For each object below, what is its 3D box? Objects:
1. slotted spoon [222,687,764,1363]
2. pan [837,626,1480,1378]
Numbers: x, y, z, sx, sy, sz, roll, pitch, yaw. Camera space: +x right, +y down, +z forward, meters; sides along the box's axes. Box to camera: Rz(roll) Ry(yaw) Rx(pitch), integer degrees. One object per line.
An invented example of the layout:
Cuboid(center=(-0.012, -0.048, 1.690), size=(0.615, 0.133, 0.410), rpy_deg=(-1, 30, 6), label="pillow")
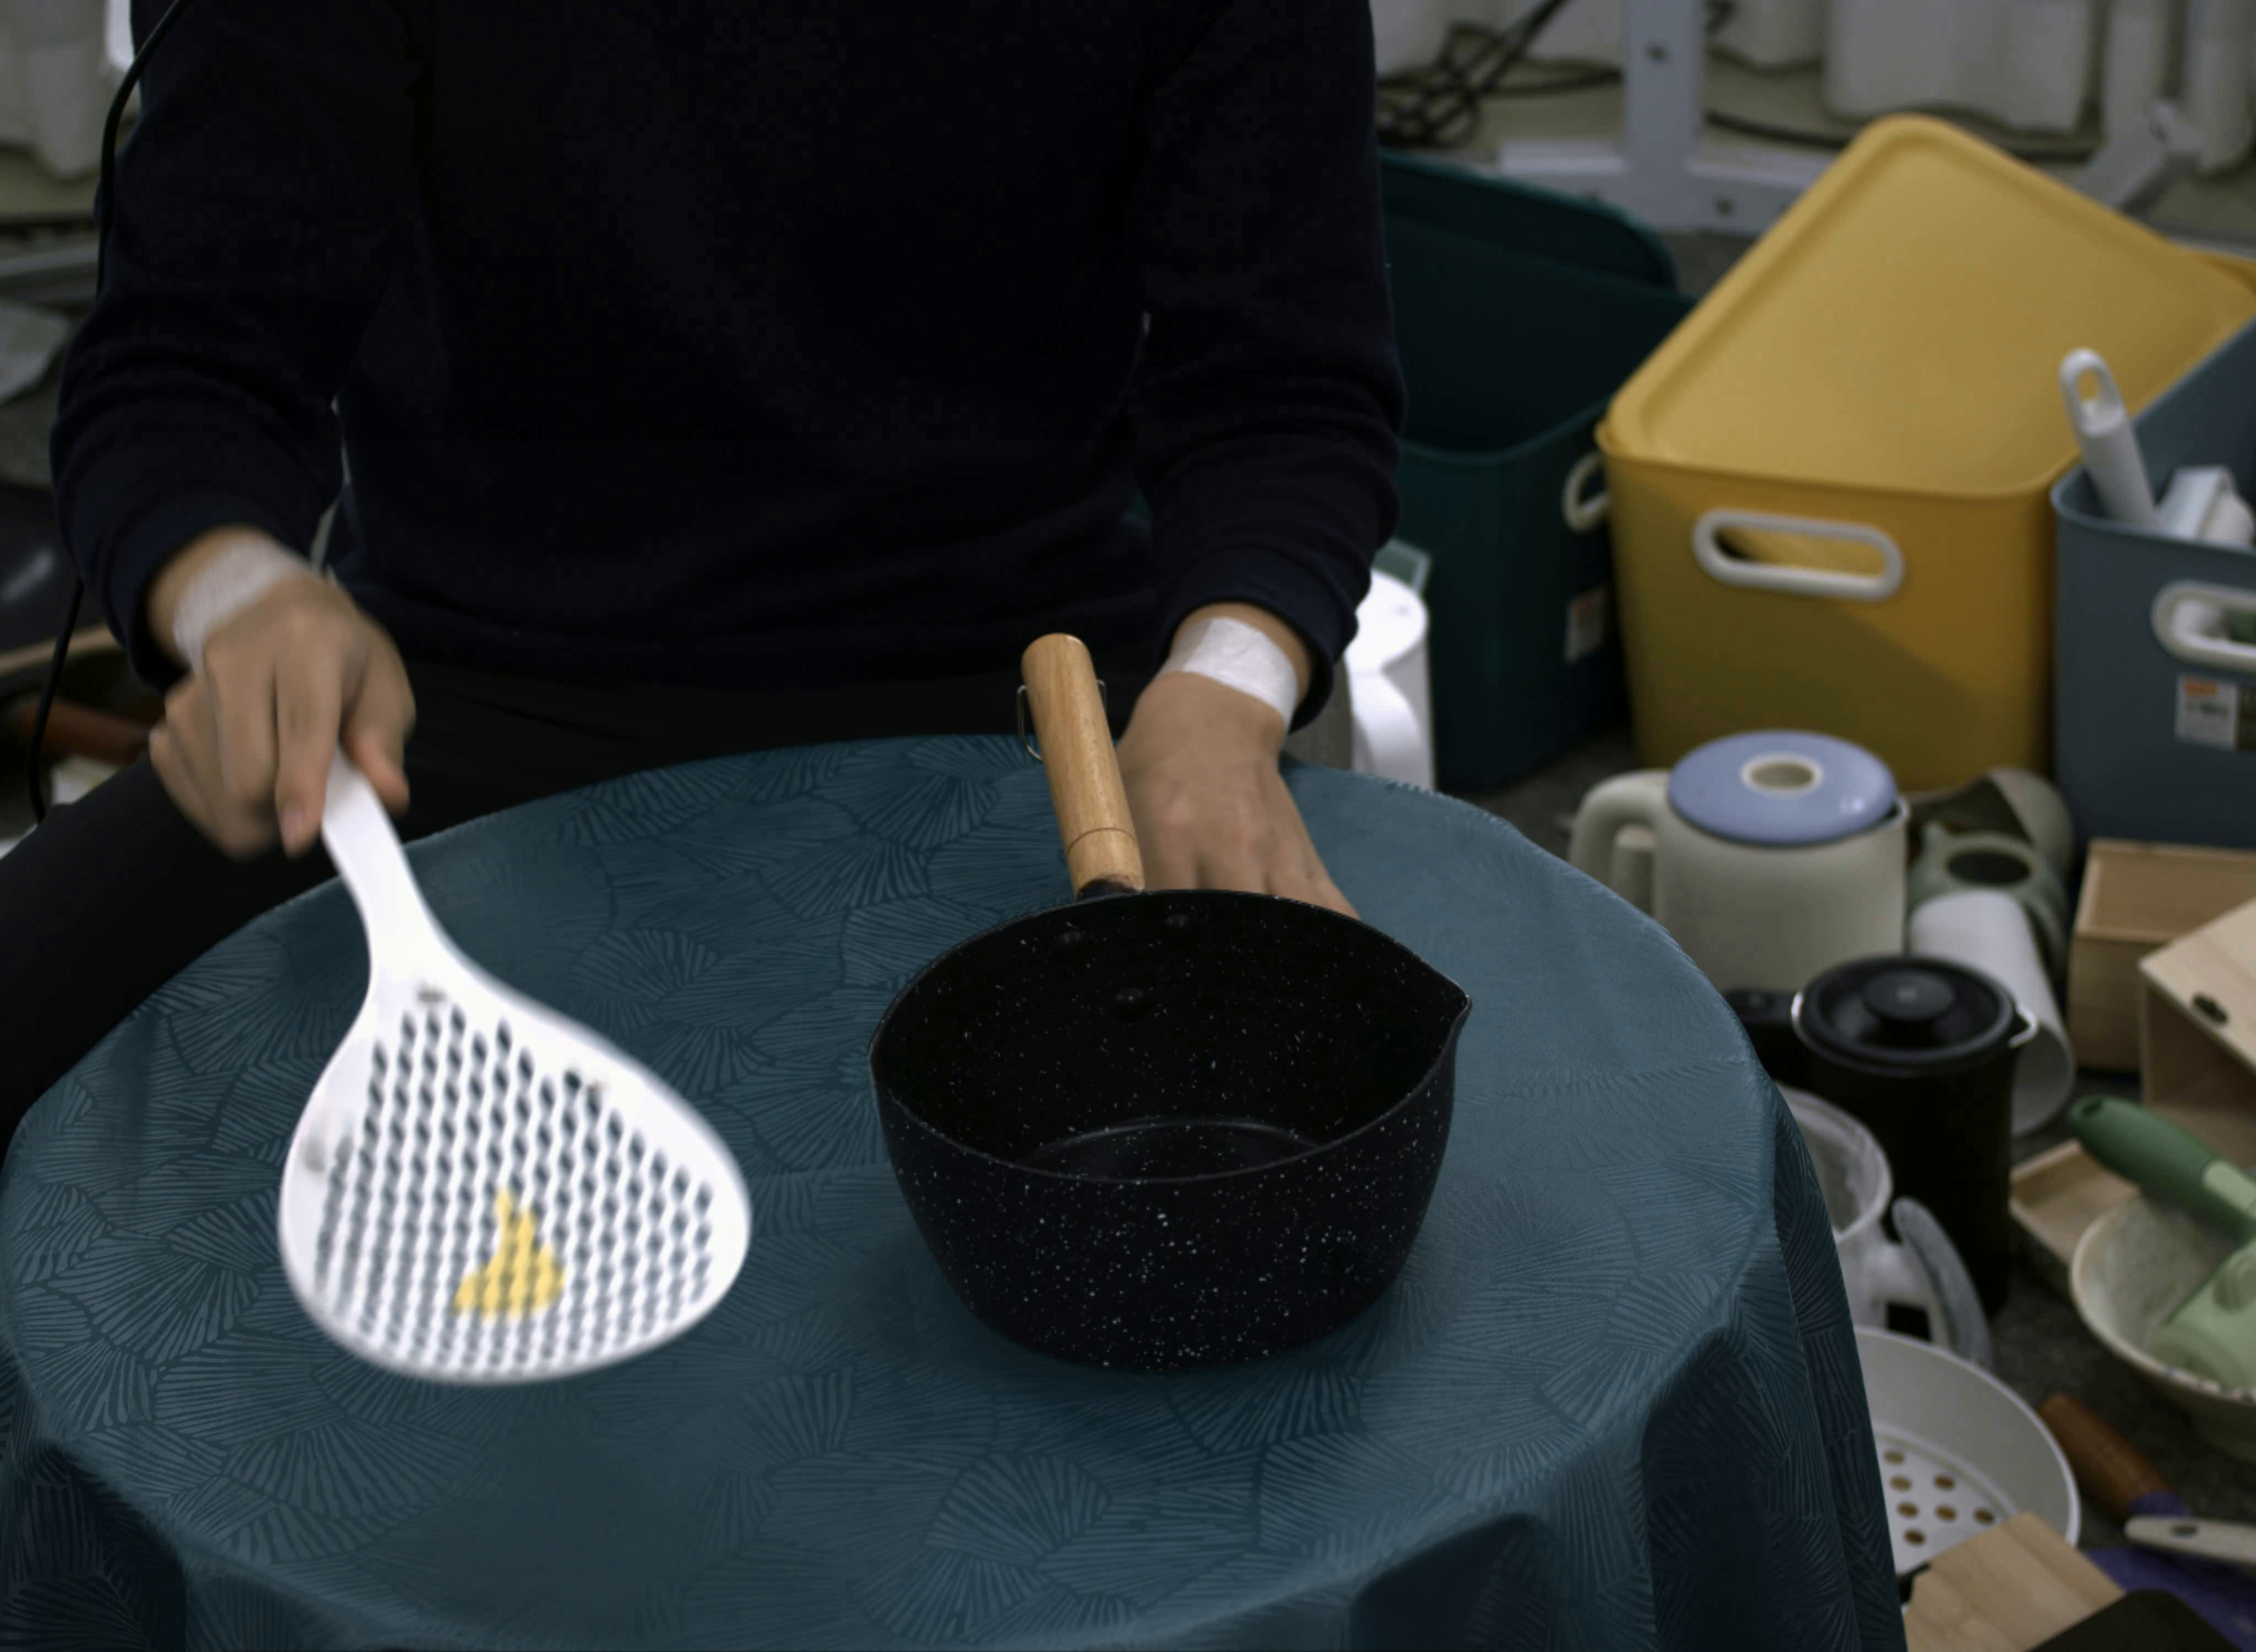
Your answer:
Cuboid(center=(-0.217, 0.050, 1.716), size=(0.137, 0.049, 0.352), rpy_deg=(-12, 45, -19), label="slotted spoon")
Cuboid(center=(0.000, 0.055, 1.875), size=(0.207, 0.107, 0.347), rpy_deg=(-8, 29, -7), label="pan")
